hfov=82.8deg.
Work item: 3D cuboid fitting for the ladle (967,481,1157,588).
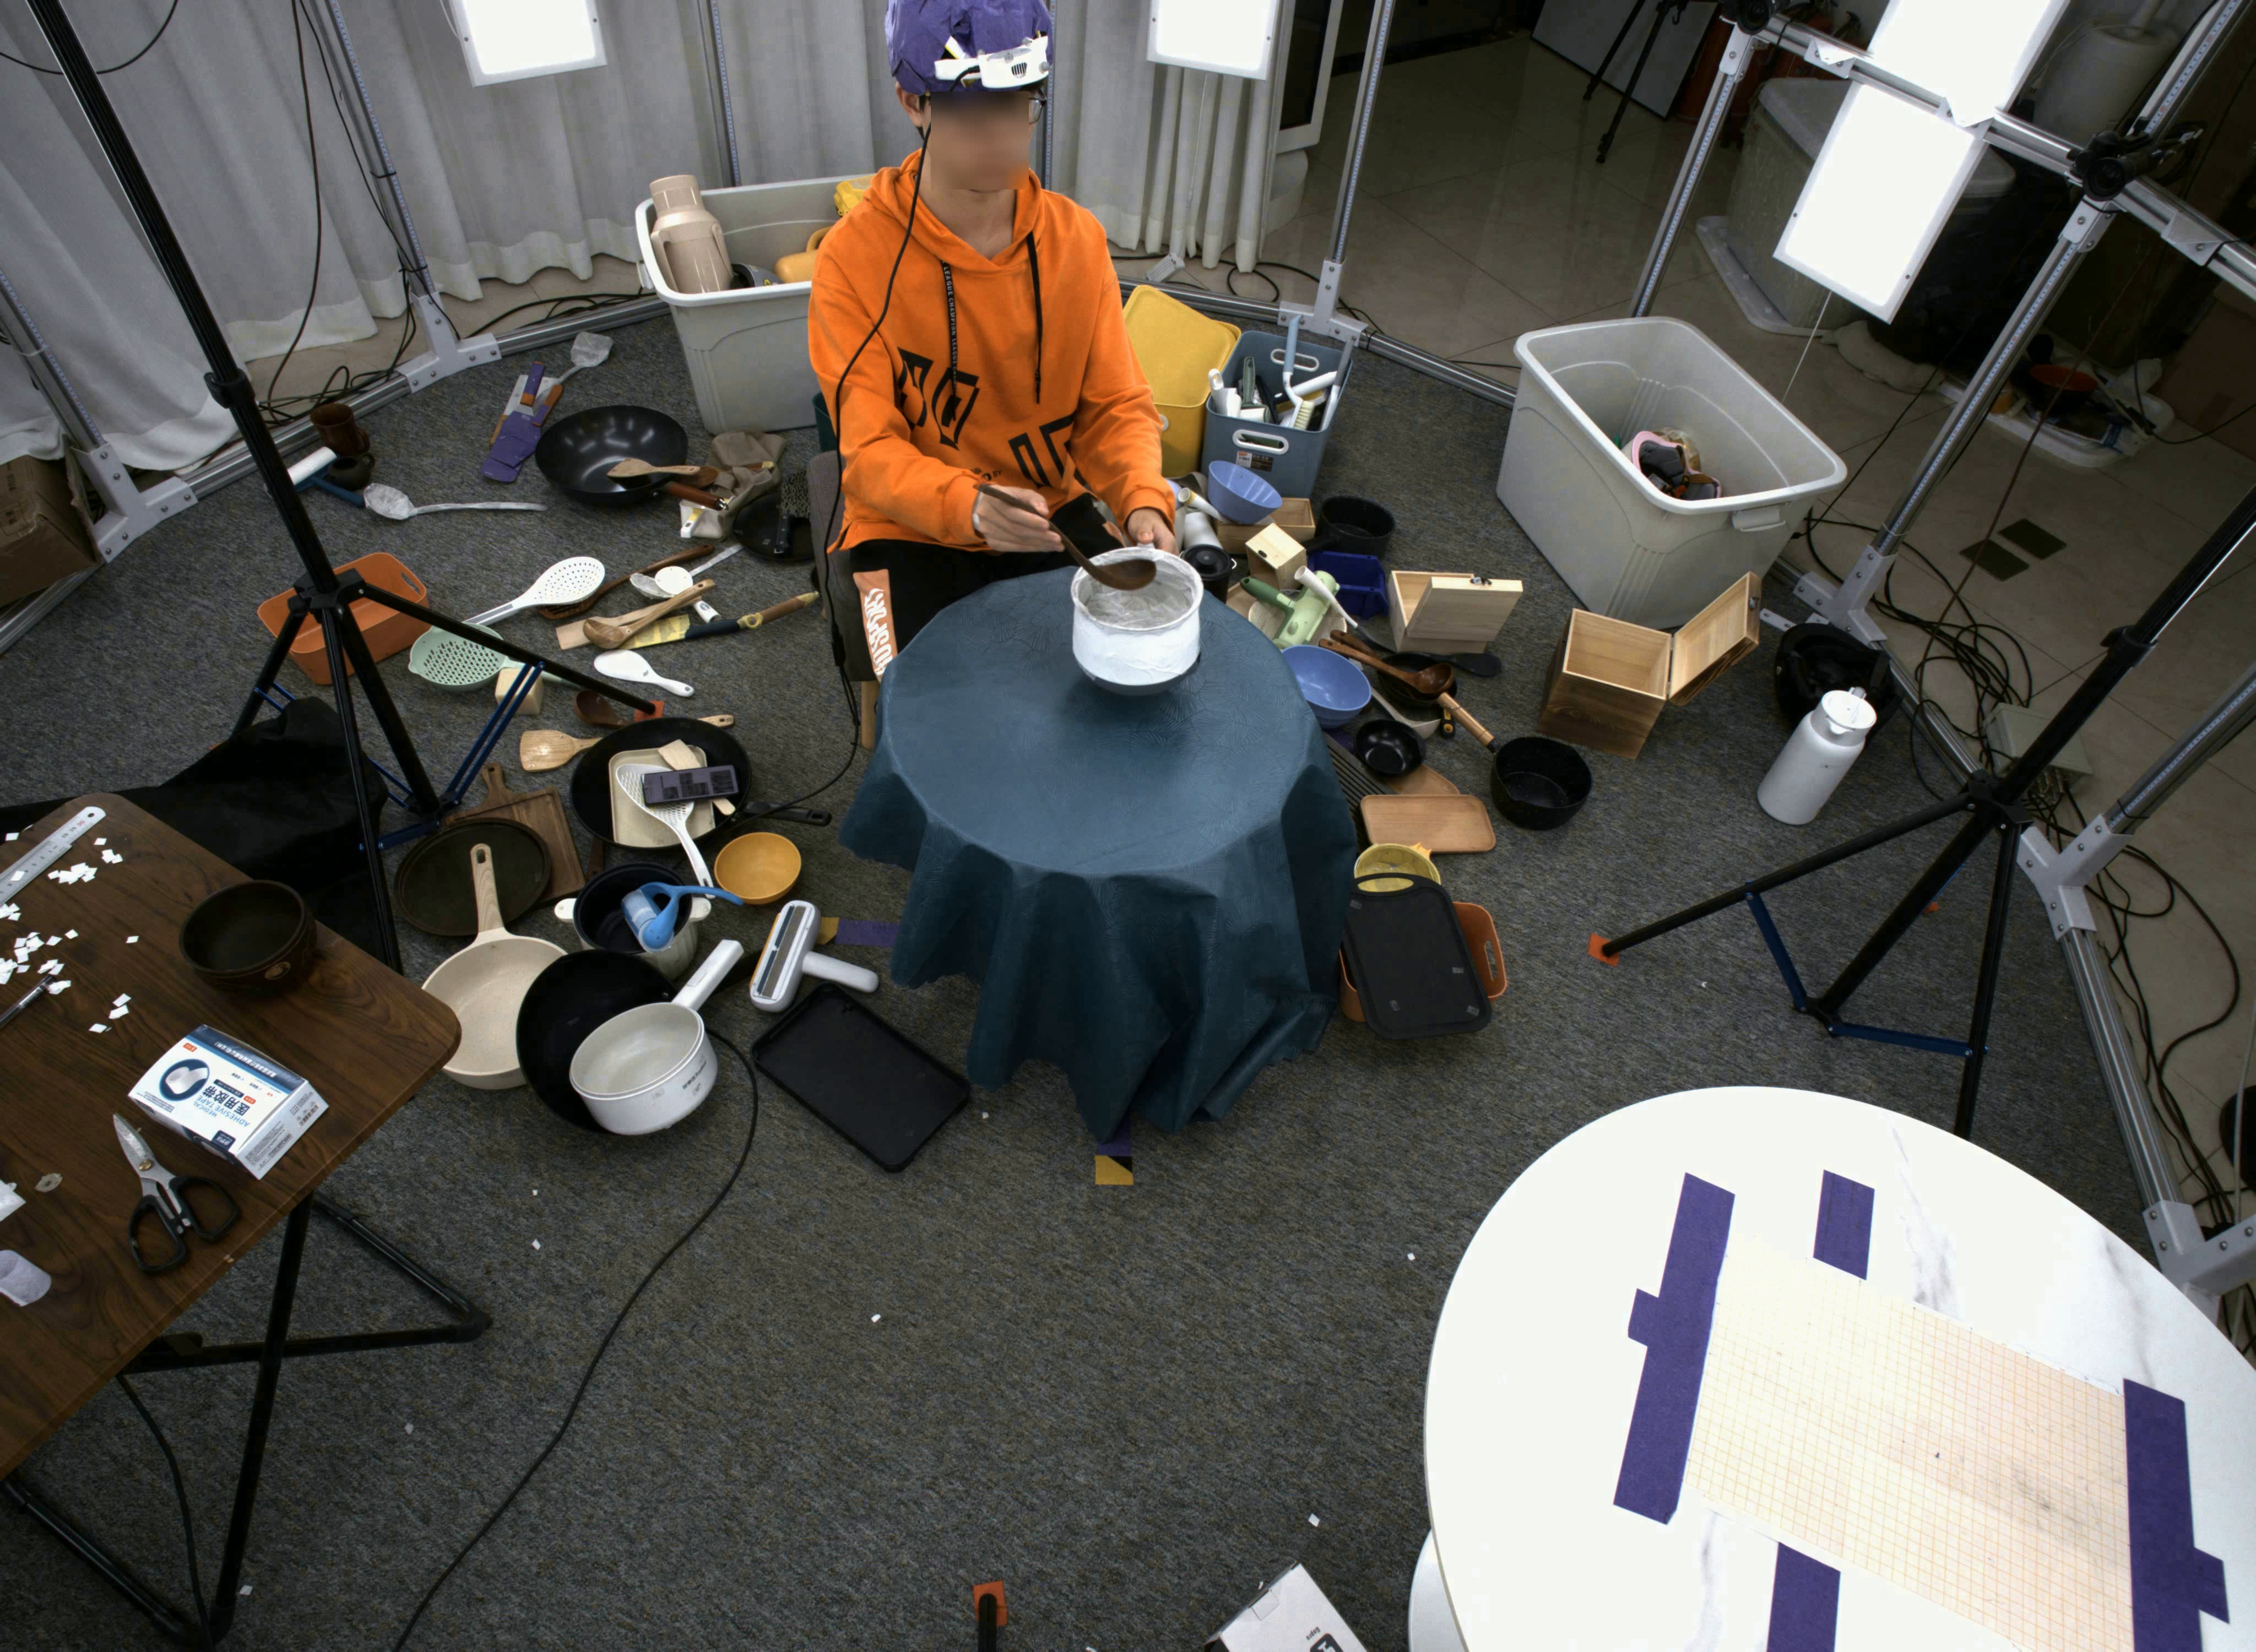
[{"bbox_3d":[-0.076,-0.382,1.634,0.071,0.270,0.077,-56,33,3],"label":"ladle"}]

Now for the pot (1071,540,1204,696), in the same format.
[{"bbox_3d":[0.015,-0.296,1.775,0.179,0.133,0.239,4,47,3],"label":"pot"}]
